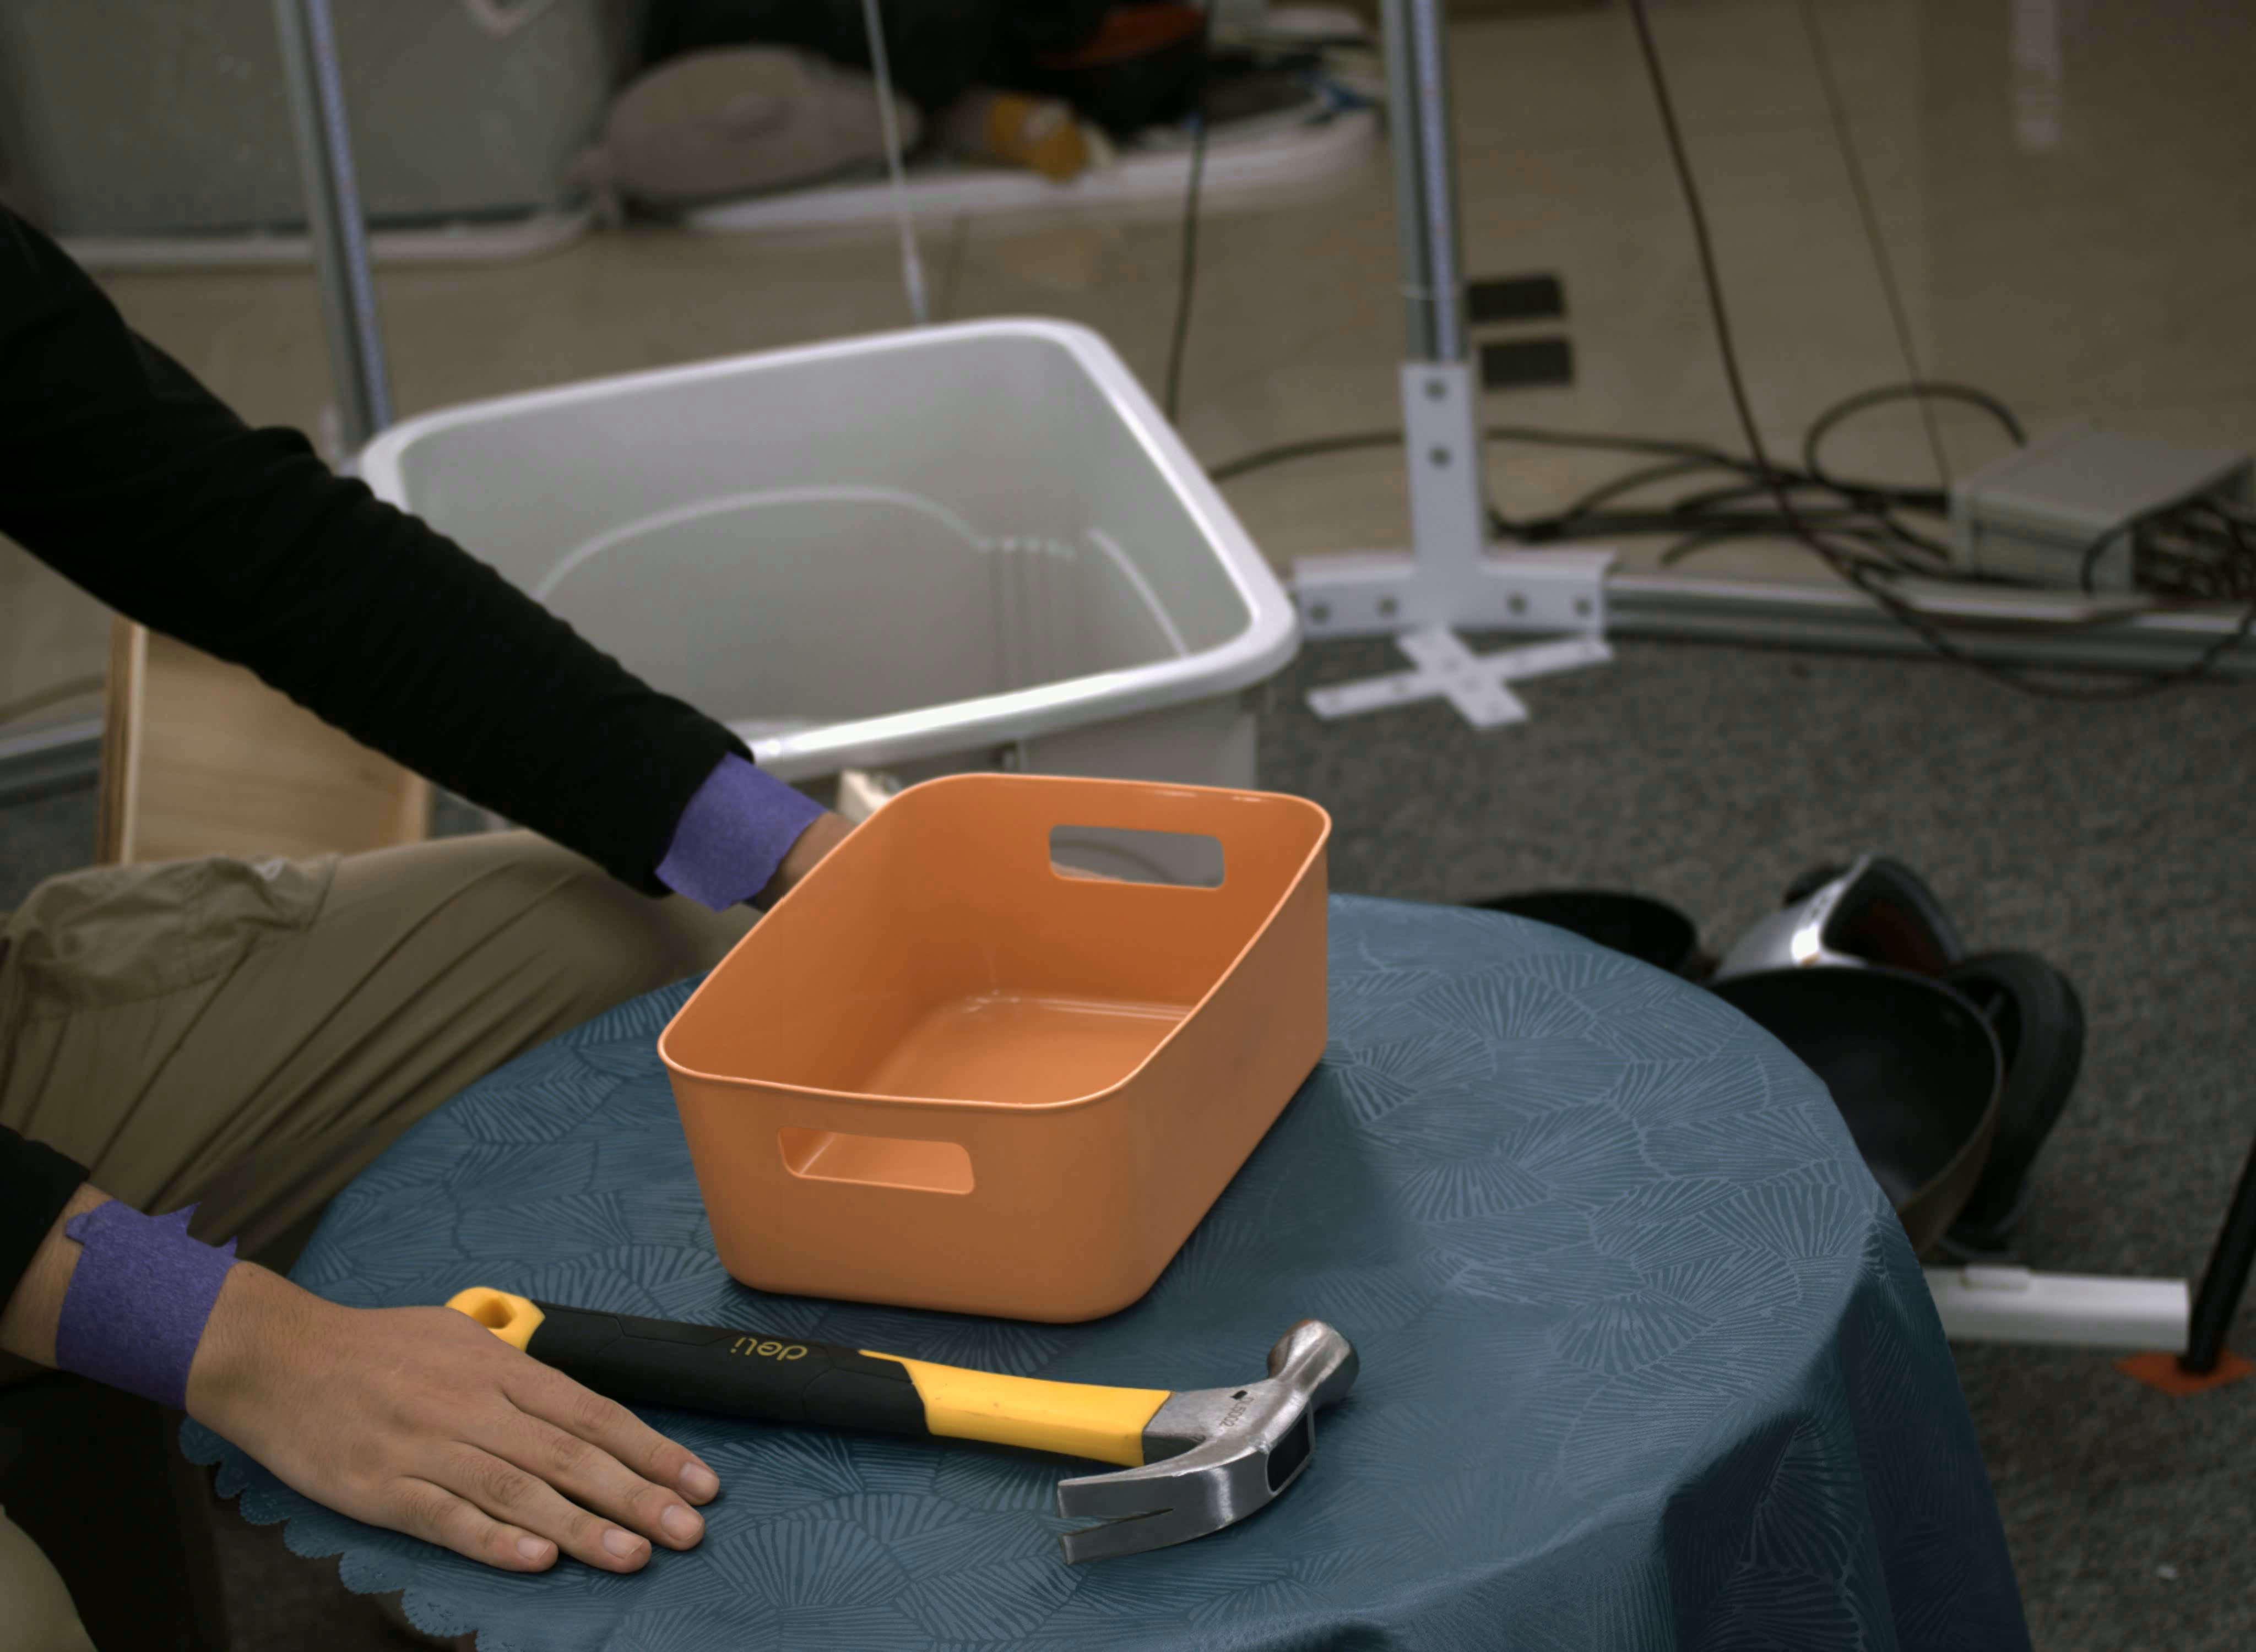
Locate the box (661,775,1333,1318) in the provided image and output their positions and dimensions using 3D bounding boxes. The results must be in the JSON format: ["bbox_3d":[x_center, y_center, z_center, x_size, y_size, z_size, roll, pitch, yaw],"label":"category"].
[{"bbox_3d":[-0.042,0.083,2.157,0.199,0.104,0.269,4,26,22],"label":"box"}]

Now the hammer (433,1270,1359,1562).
[{"bbox_3d":[-0.097,0.195,2.009,0.337,0.033,0.130,7,28,25],"label":"hammer"}]
